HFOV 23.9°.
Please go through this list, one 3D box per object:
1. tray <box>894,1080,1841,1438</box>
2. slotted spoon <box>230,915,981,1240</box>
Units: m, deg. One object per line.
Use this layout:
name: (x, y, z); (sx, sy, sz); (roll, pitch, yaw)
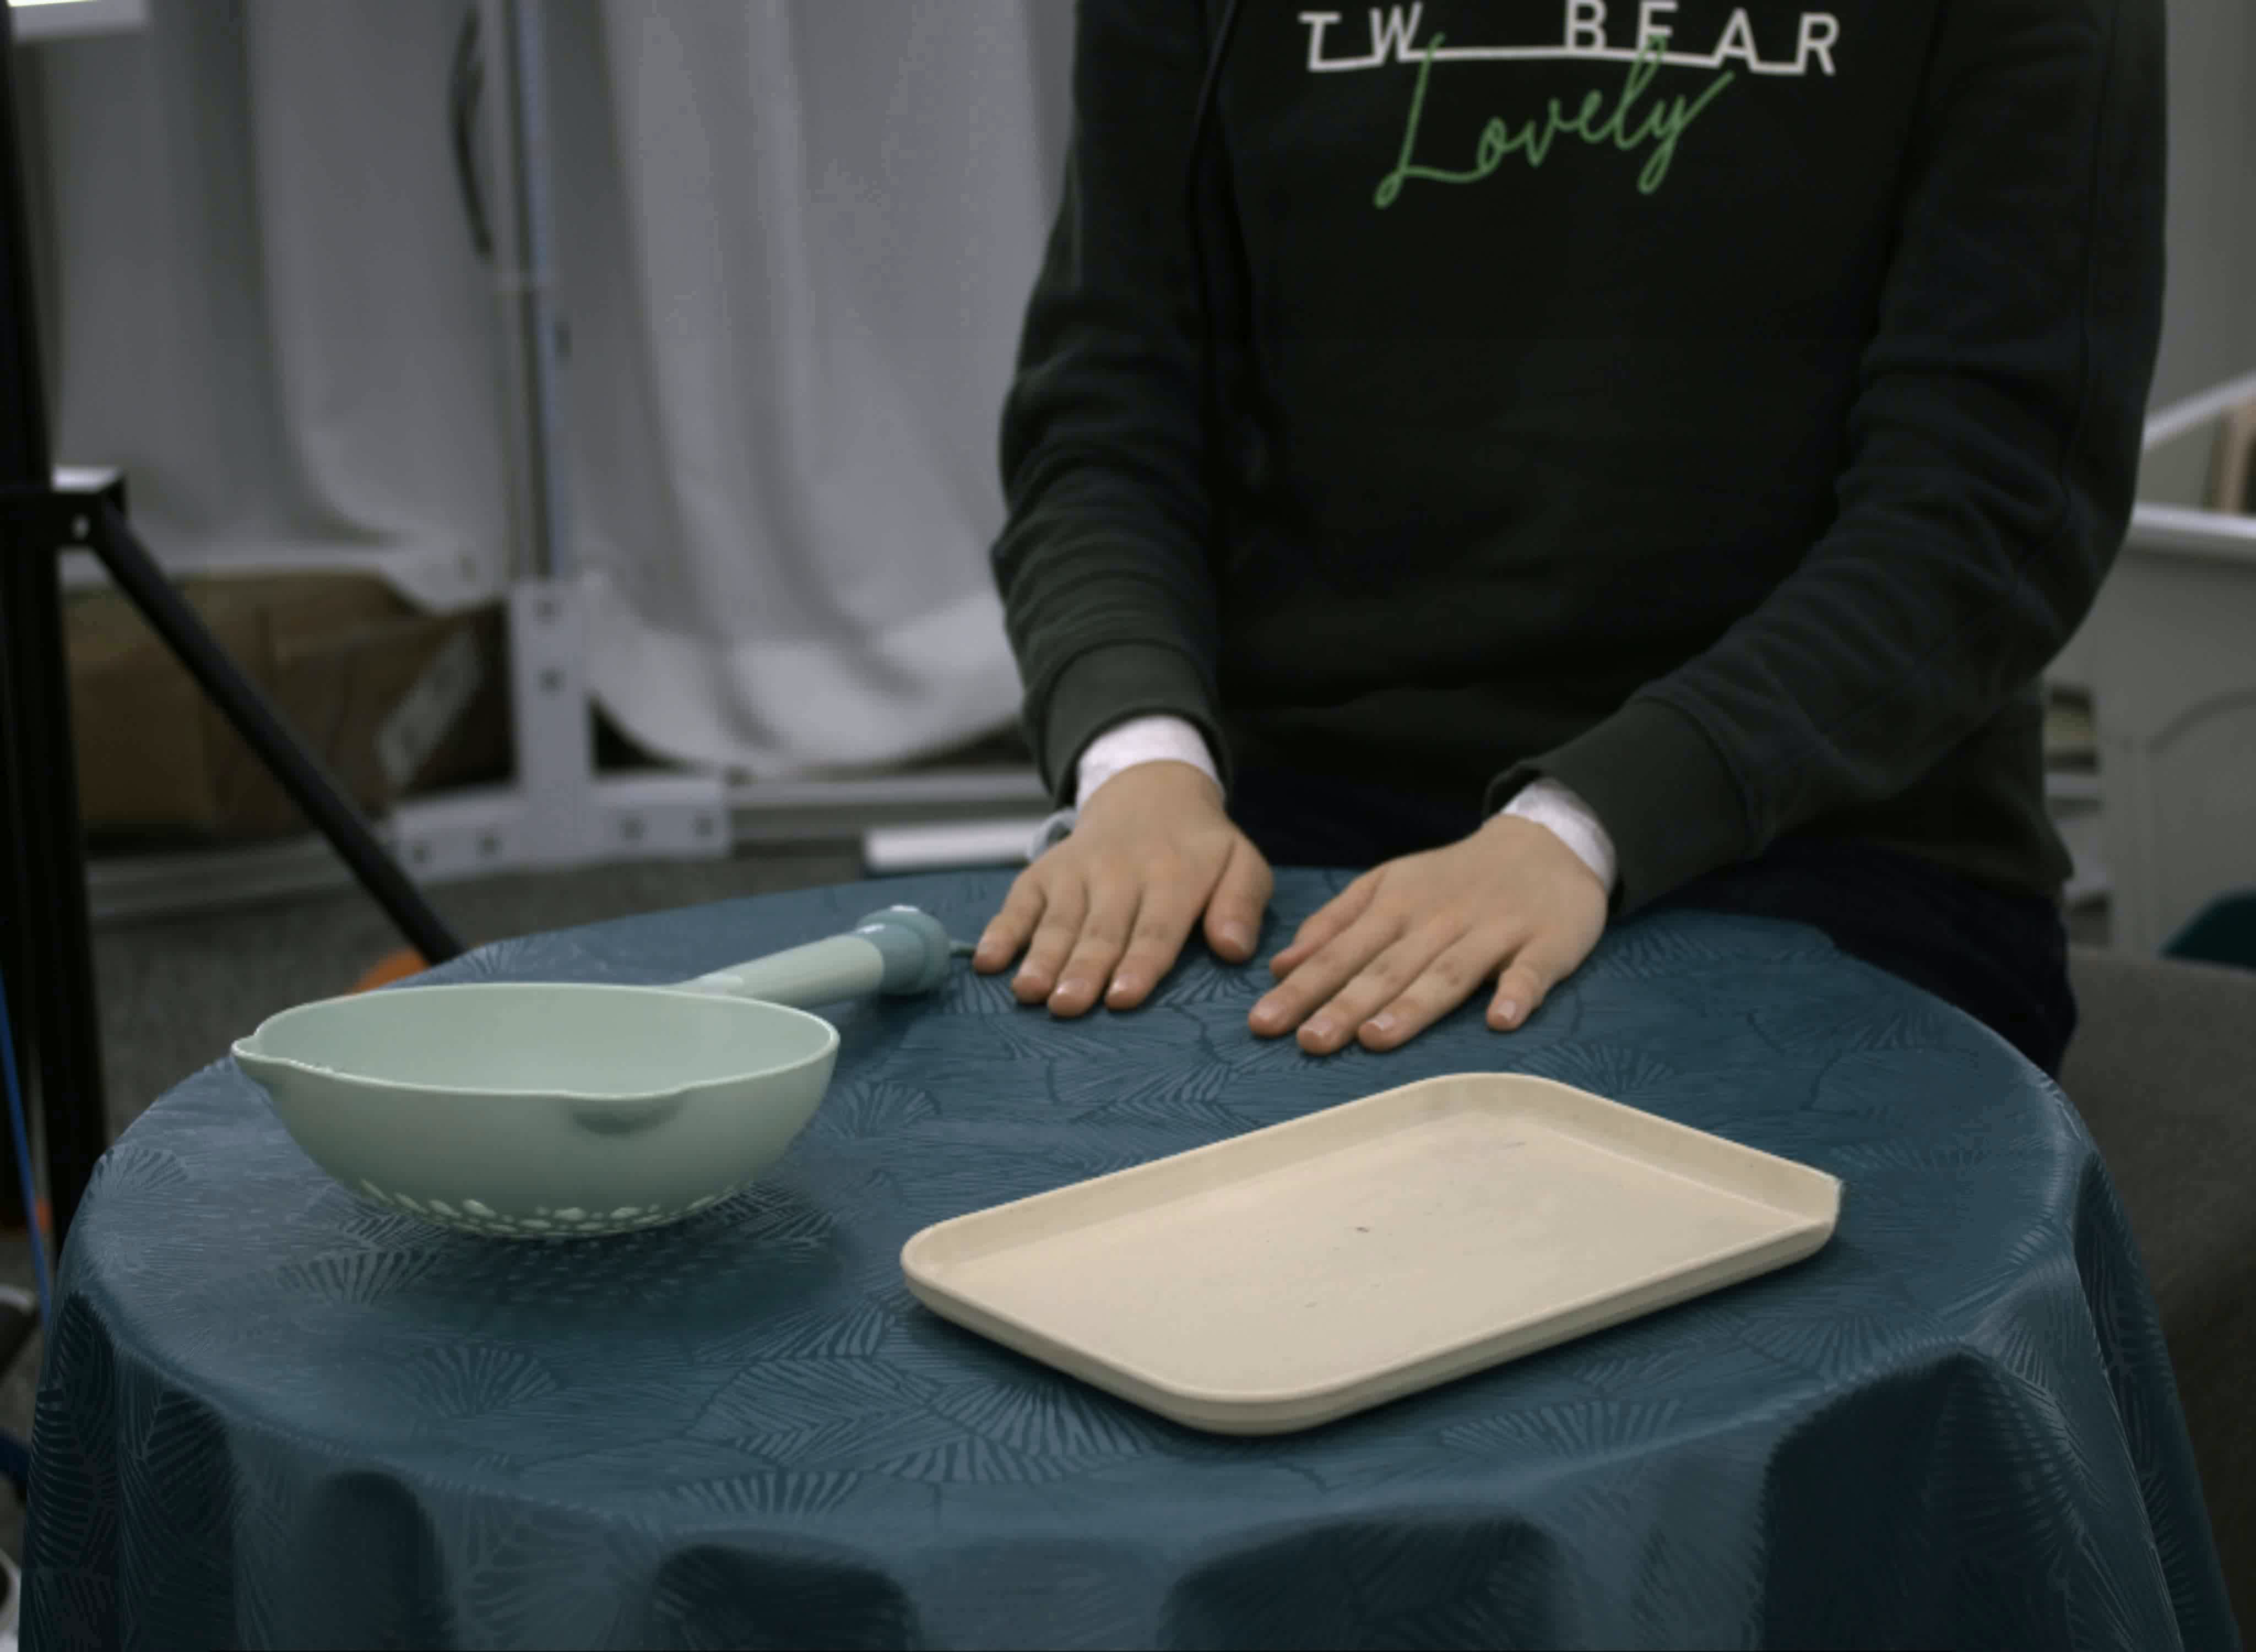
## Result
tray: (0.068, 0.119, 1.477); (0.234, 0.017, 0.175); (-13, 19, -35)
slotted spoon: (-0.129, 0.061, 1.630); (0.172, 0.075, 0.353); (5, 17, 24)
